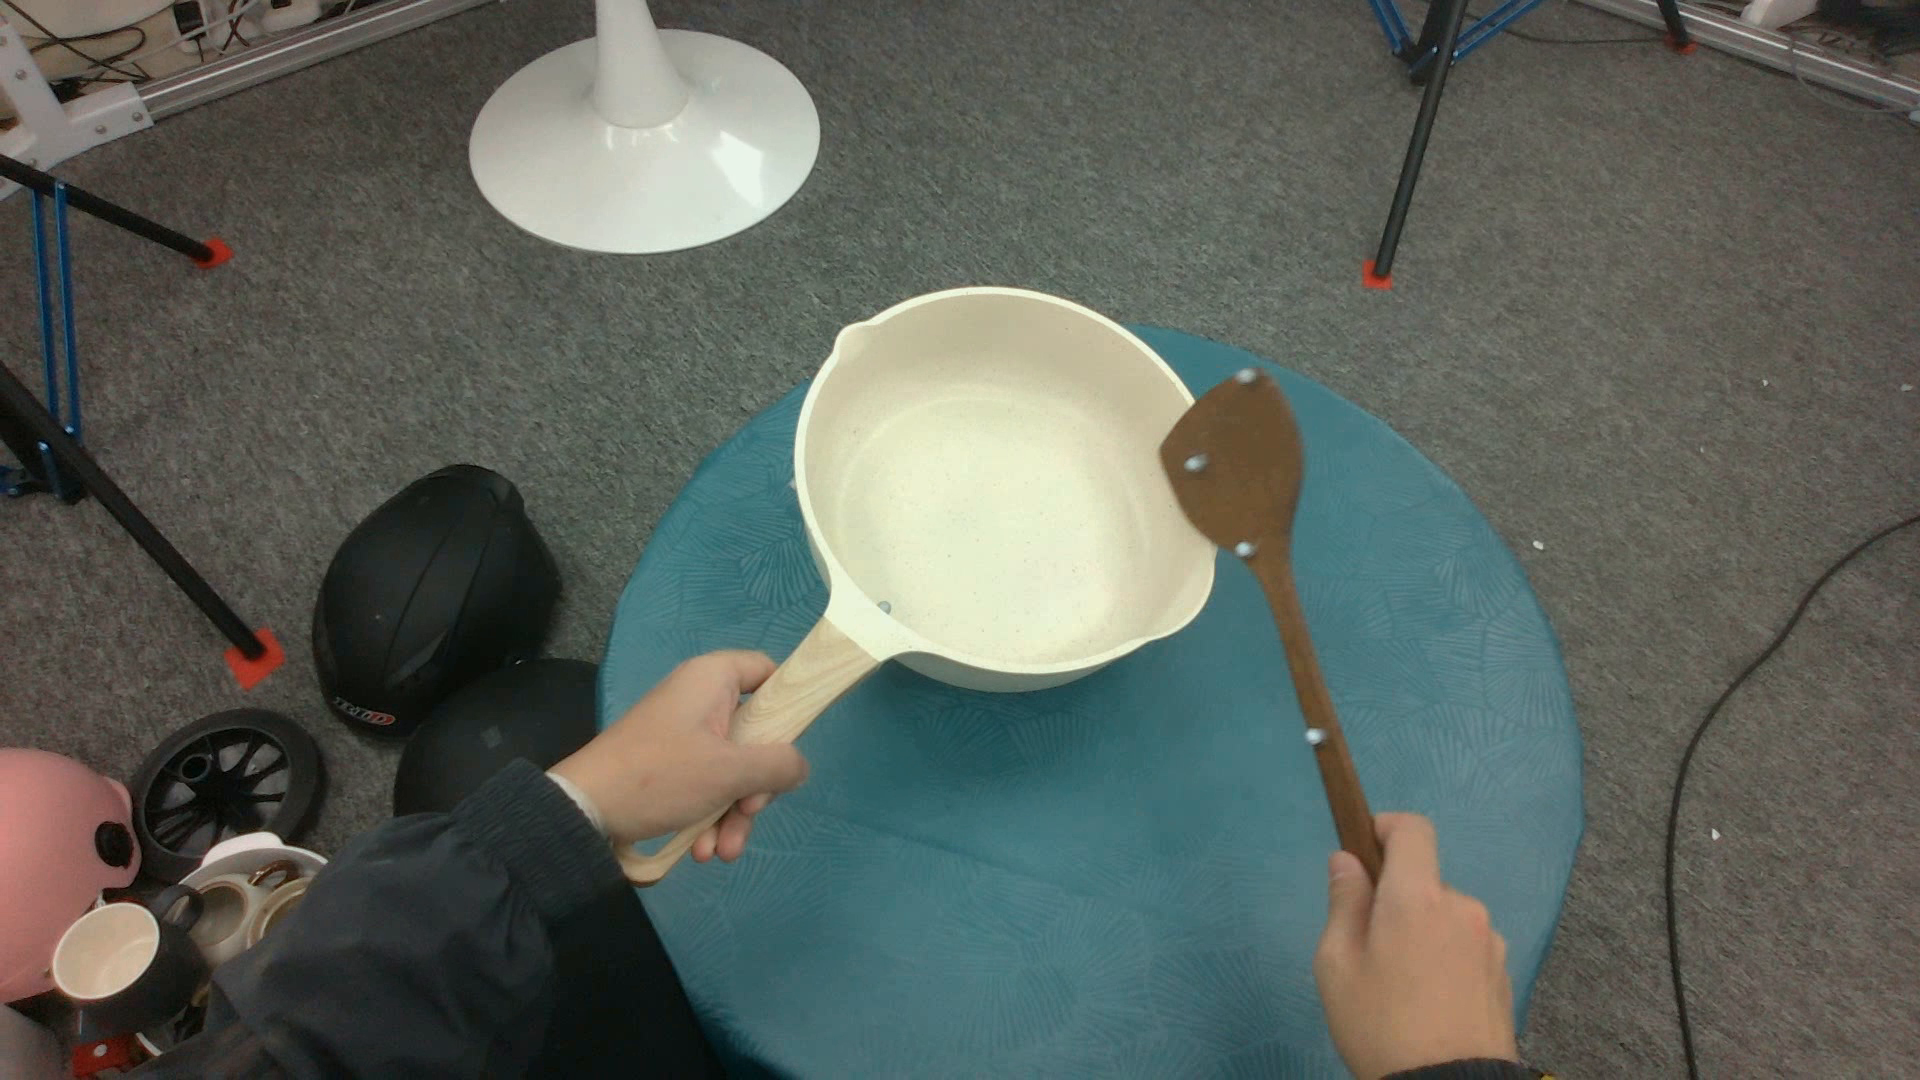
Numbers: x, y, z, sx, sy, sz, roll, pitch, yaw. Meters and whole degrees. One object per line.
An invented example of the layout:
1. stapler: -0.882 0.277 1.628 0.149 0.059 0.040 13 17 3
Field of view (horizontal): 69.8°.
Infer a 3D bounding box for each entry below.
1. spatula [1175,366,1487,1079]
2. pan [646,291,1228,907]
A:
1. spatula: 0.191 0.080 0.712 0.016 0.095 0.387 8 55 -33
2. pan: -0.024 0.036 0.781 0.263 0.101 0.437 37 63 8
